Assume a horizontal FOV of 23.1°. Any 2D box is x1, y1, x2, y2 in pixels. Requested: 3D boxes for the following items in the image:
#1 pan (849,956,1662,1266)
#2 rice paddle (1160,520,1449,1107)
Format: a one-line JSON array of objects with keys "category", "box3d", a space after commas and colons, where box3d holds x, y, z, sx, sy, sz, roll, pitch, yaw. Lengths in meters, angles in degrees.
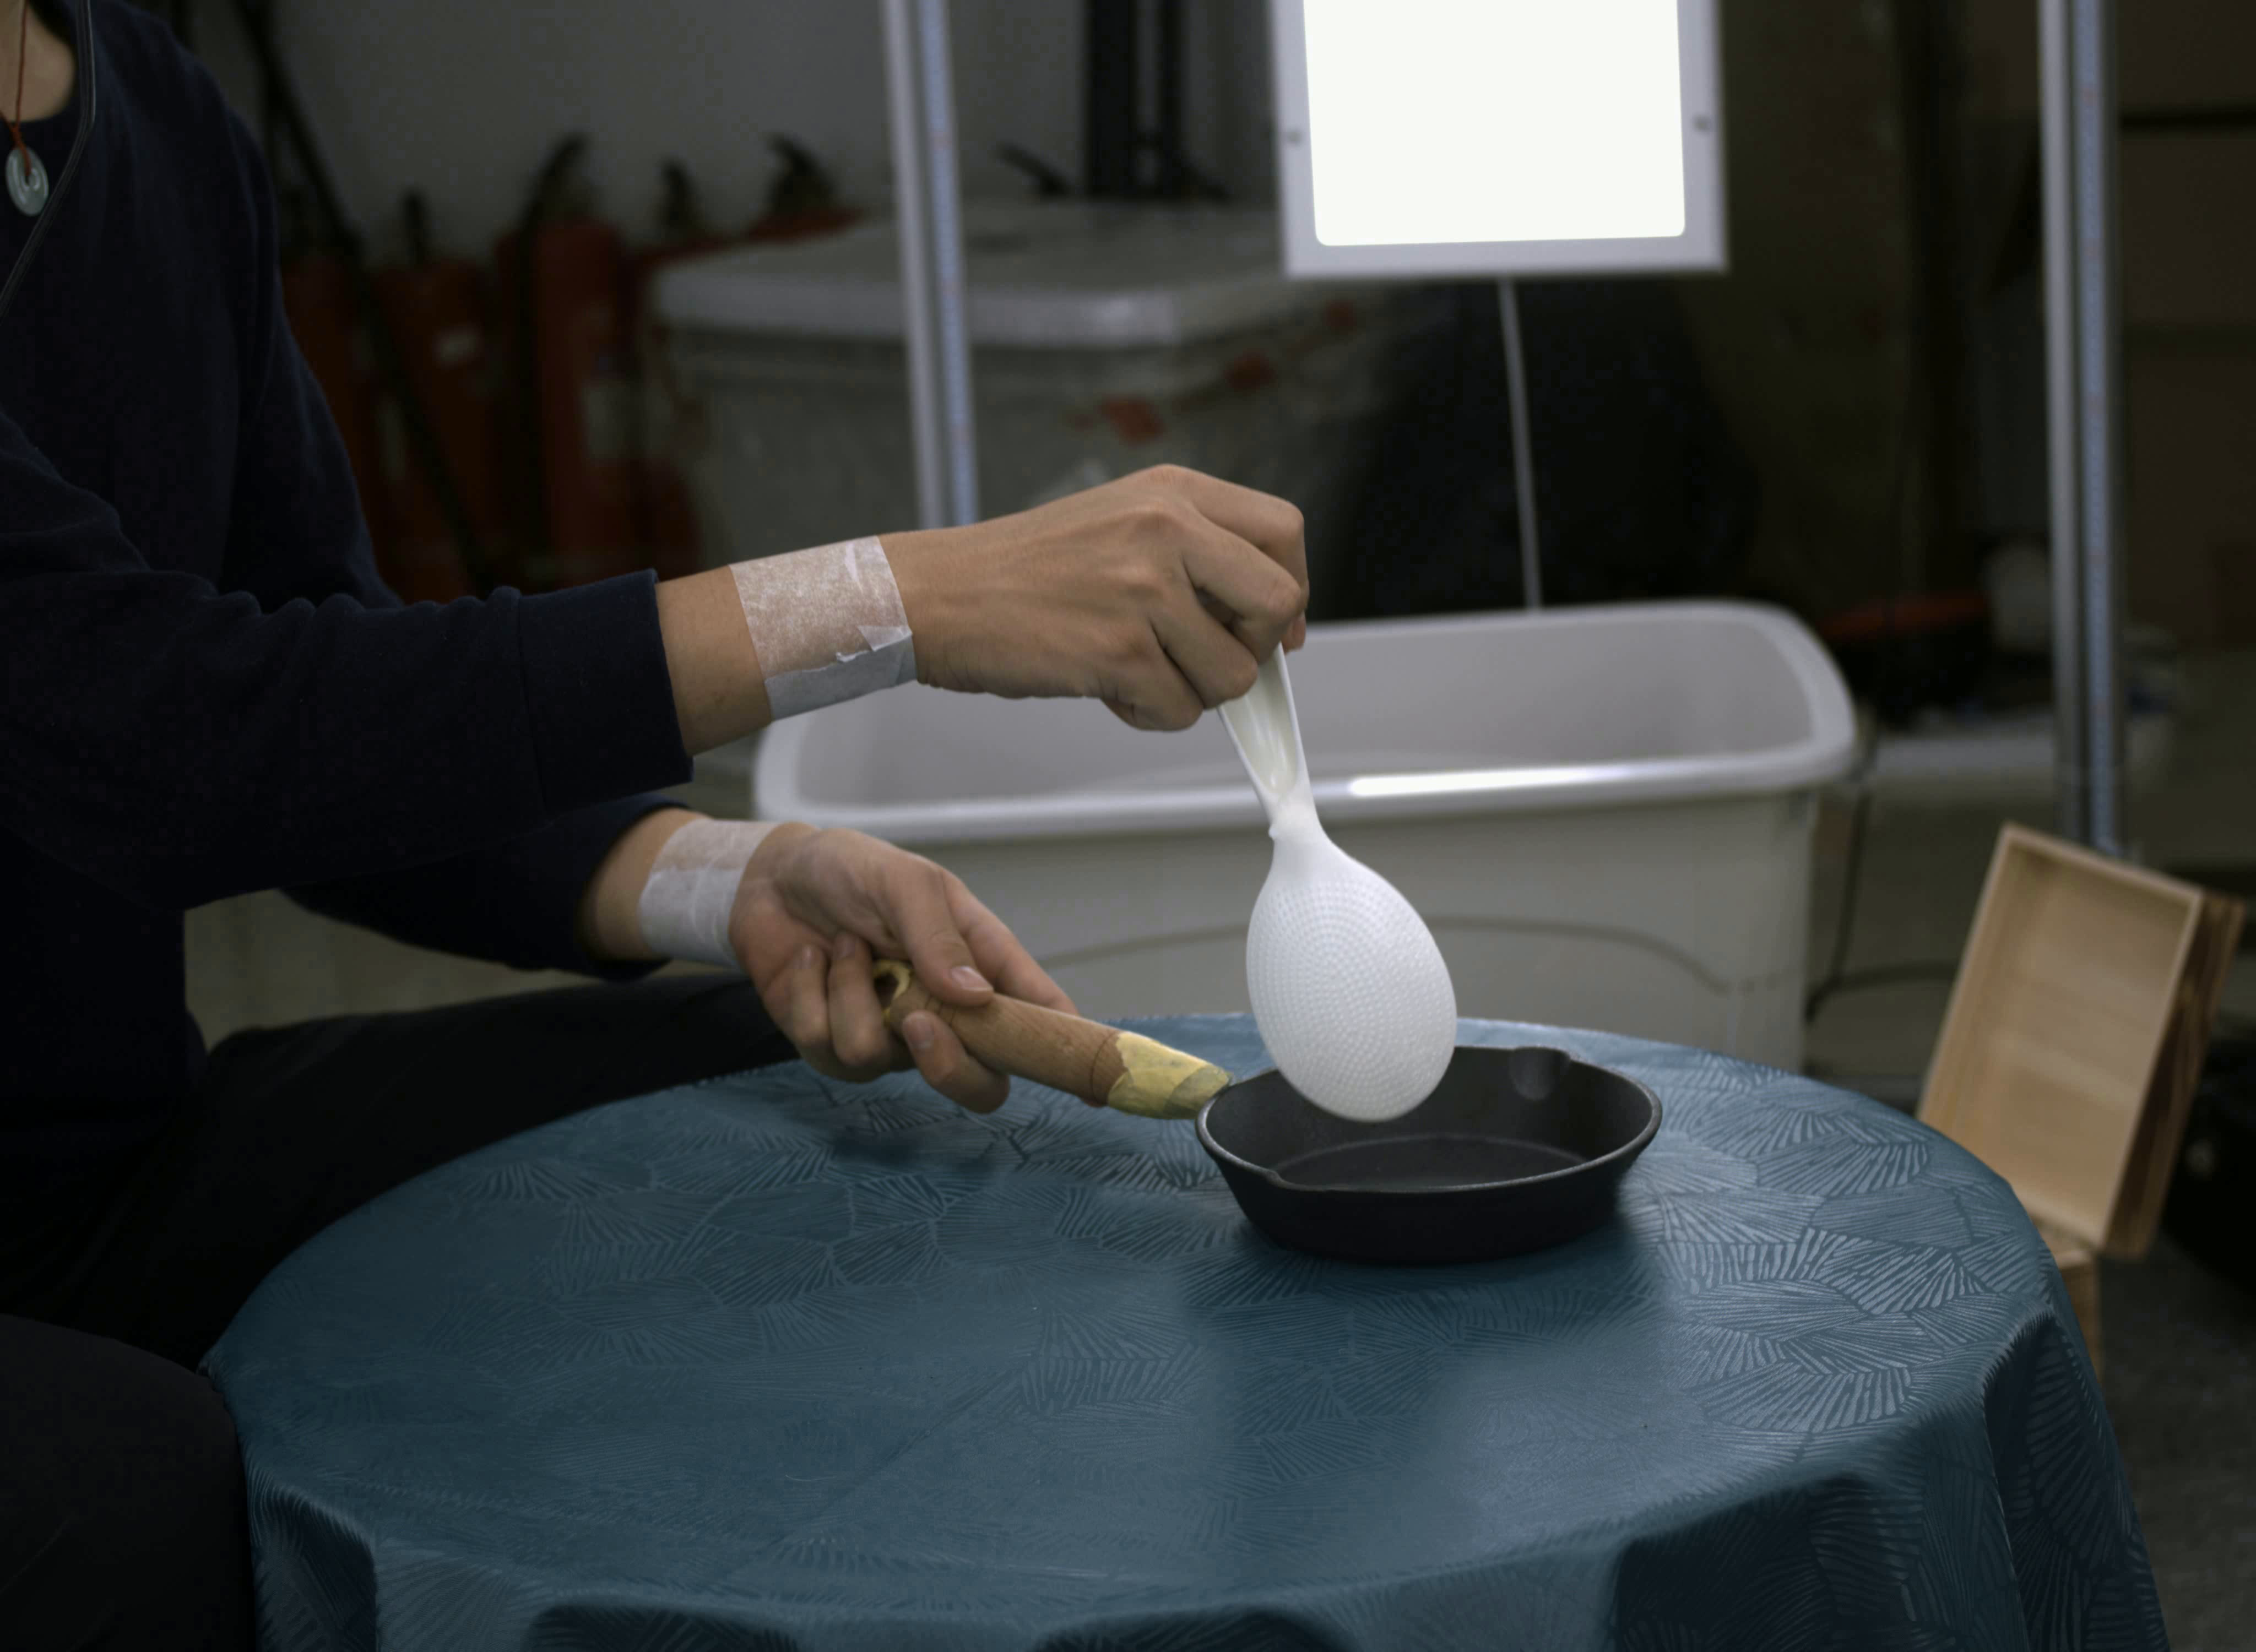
[{"category": "pan", "box3d": [0.034, 0.093, 1.897, 0.331, 0.050, 0.165, 10, 20, 37]}, {"category": "rice paddle", "box3d": [0.055, -0.001, 1.826, 0.069, 0.205, 0.029, -13, 15, 19]}]
